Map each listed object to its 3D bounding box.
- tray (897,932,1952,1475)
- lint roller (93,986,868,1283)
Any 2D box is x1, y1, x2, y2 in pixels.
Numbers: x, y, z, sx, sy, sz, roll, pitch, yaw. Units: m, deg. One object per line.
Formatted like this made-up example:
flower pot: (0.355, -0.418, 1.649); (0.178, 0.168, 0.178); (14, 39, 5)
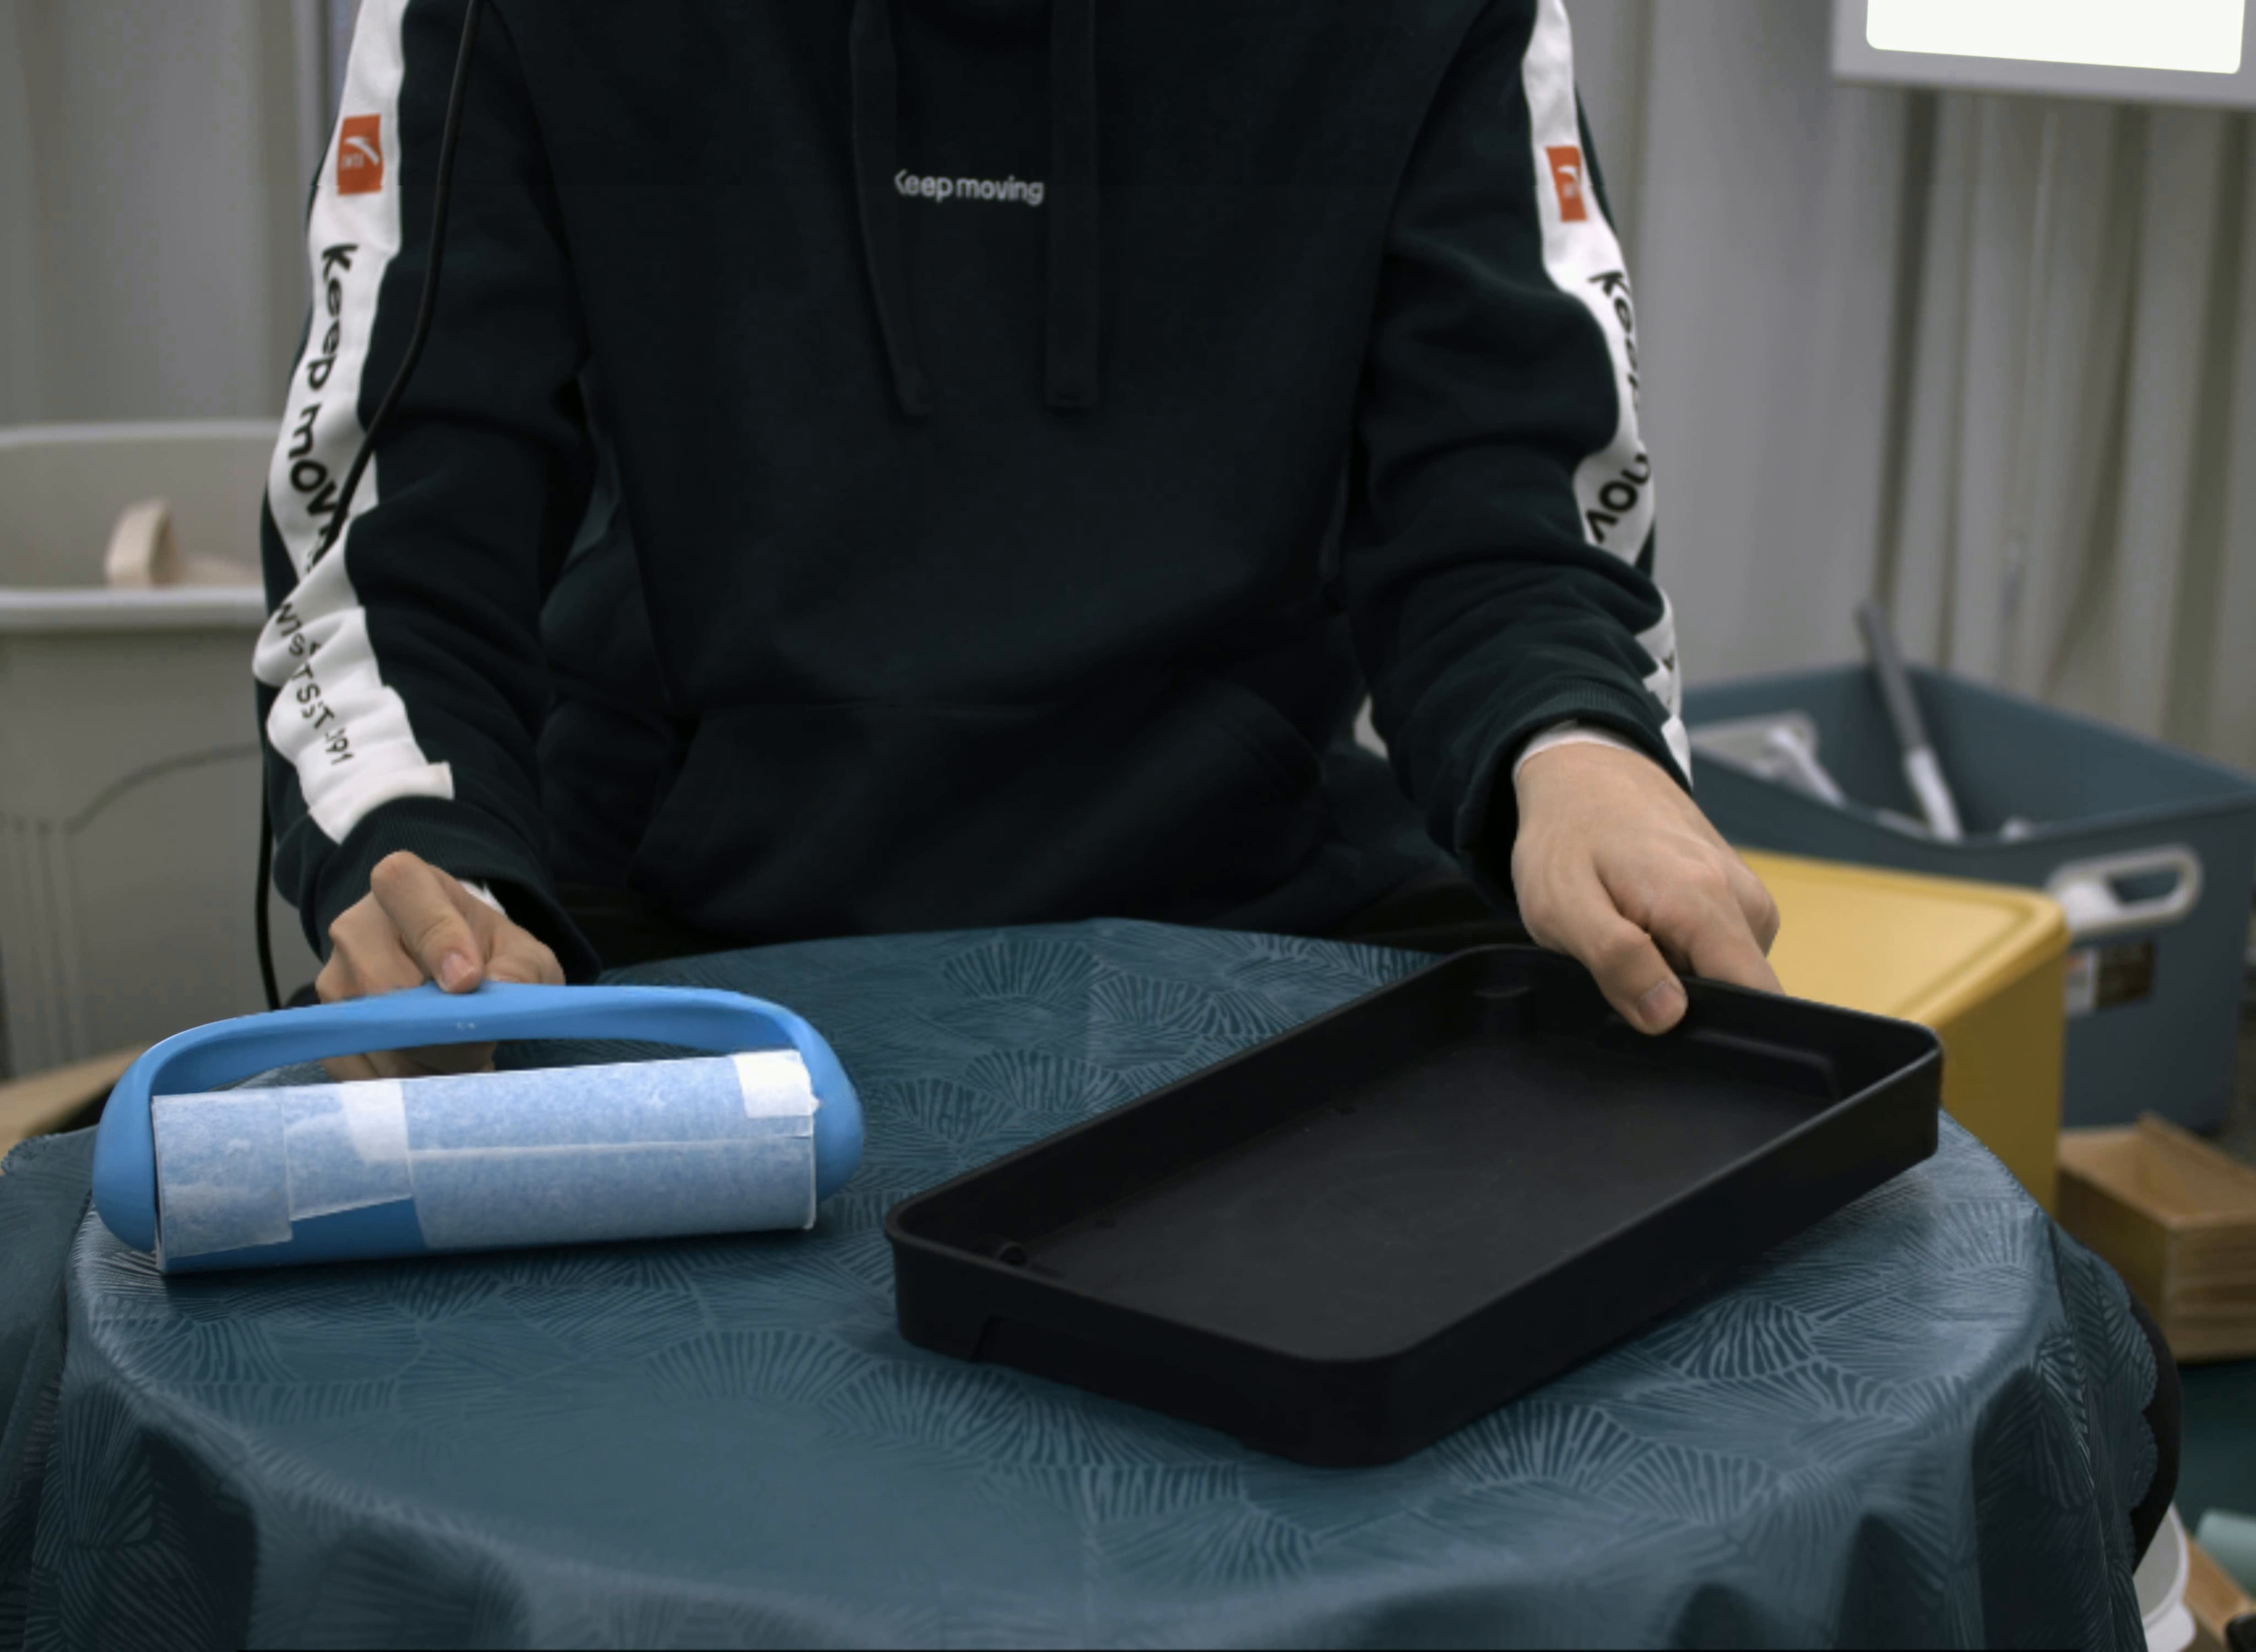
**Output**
tray: (0.094, 0.104, 1.563); (0.182, 0.037, 0.319); (11, 22, 36)
lint roller: (-0.205, 0.080, 1.611); (0.229, 0.068, 0.178); (-6, 21, -15)
